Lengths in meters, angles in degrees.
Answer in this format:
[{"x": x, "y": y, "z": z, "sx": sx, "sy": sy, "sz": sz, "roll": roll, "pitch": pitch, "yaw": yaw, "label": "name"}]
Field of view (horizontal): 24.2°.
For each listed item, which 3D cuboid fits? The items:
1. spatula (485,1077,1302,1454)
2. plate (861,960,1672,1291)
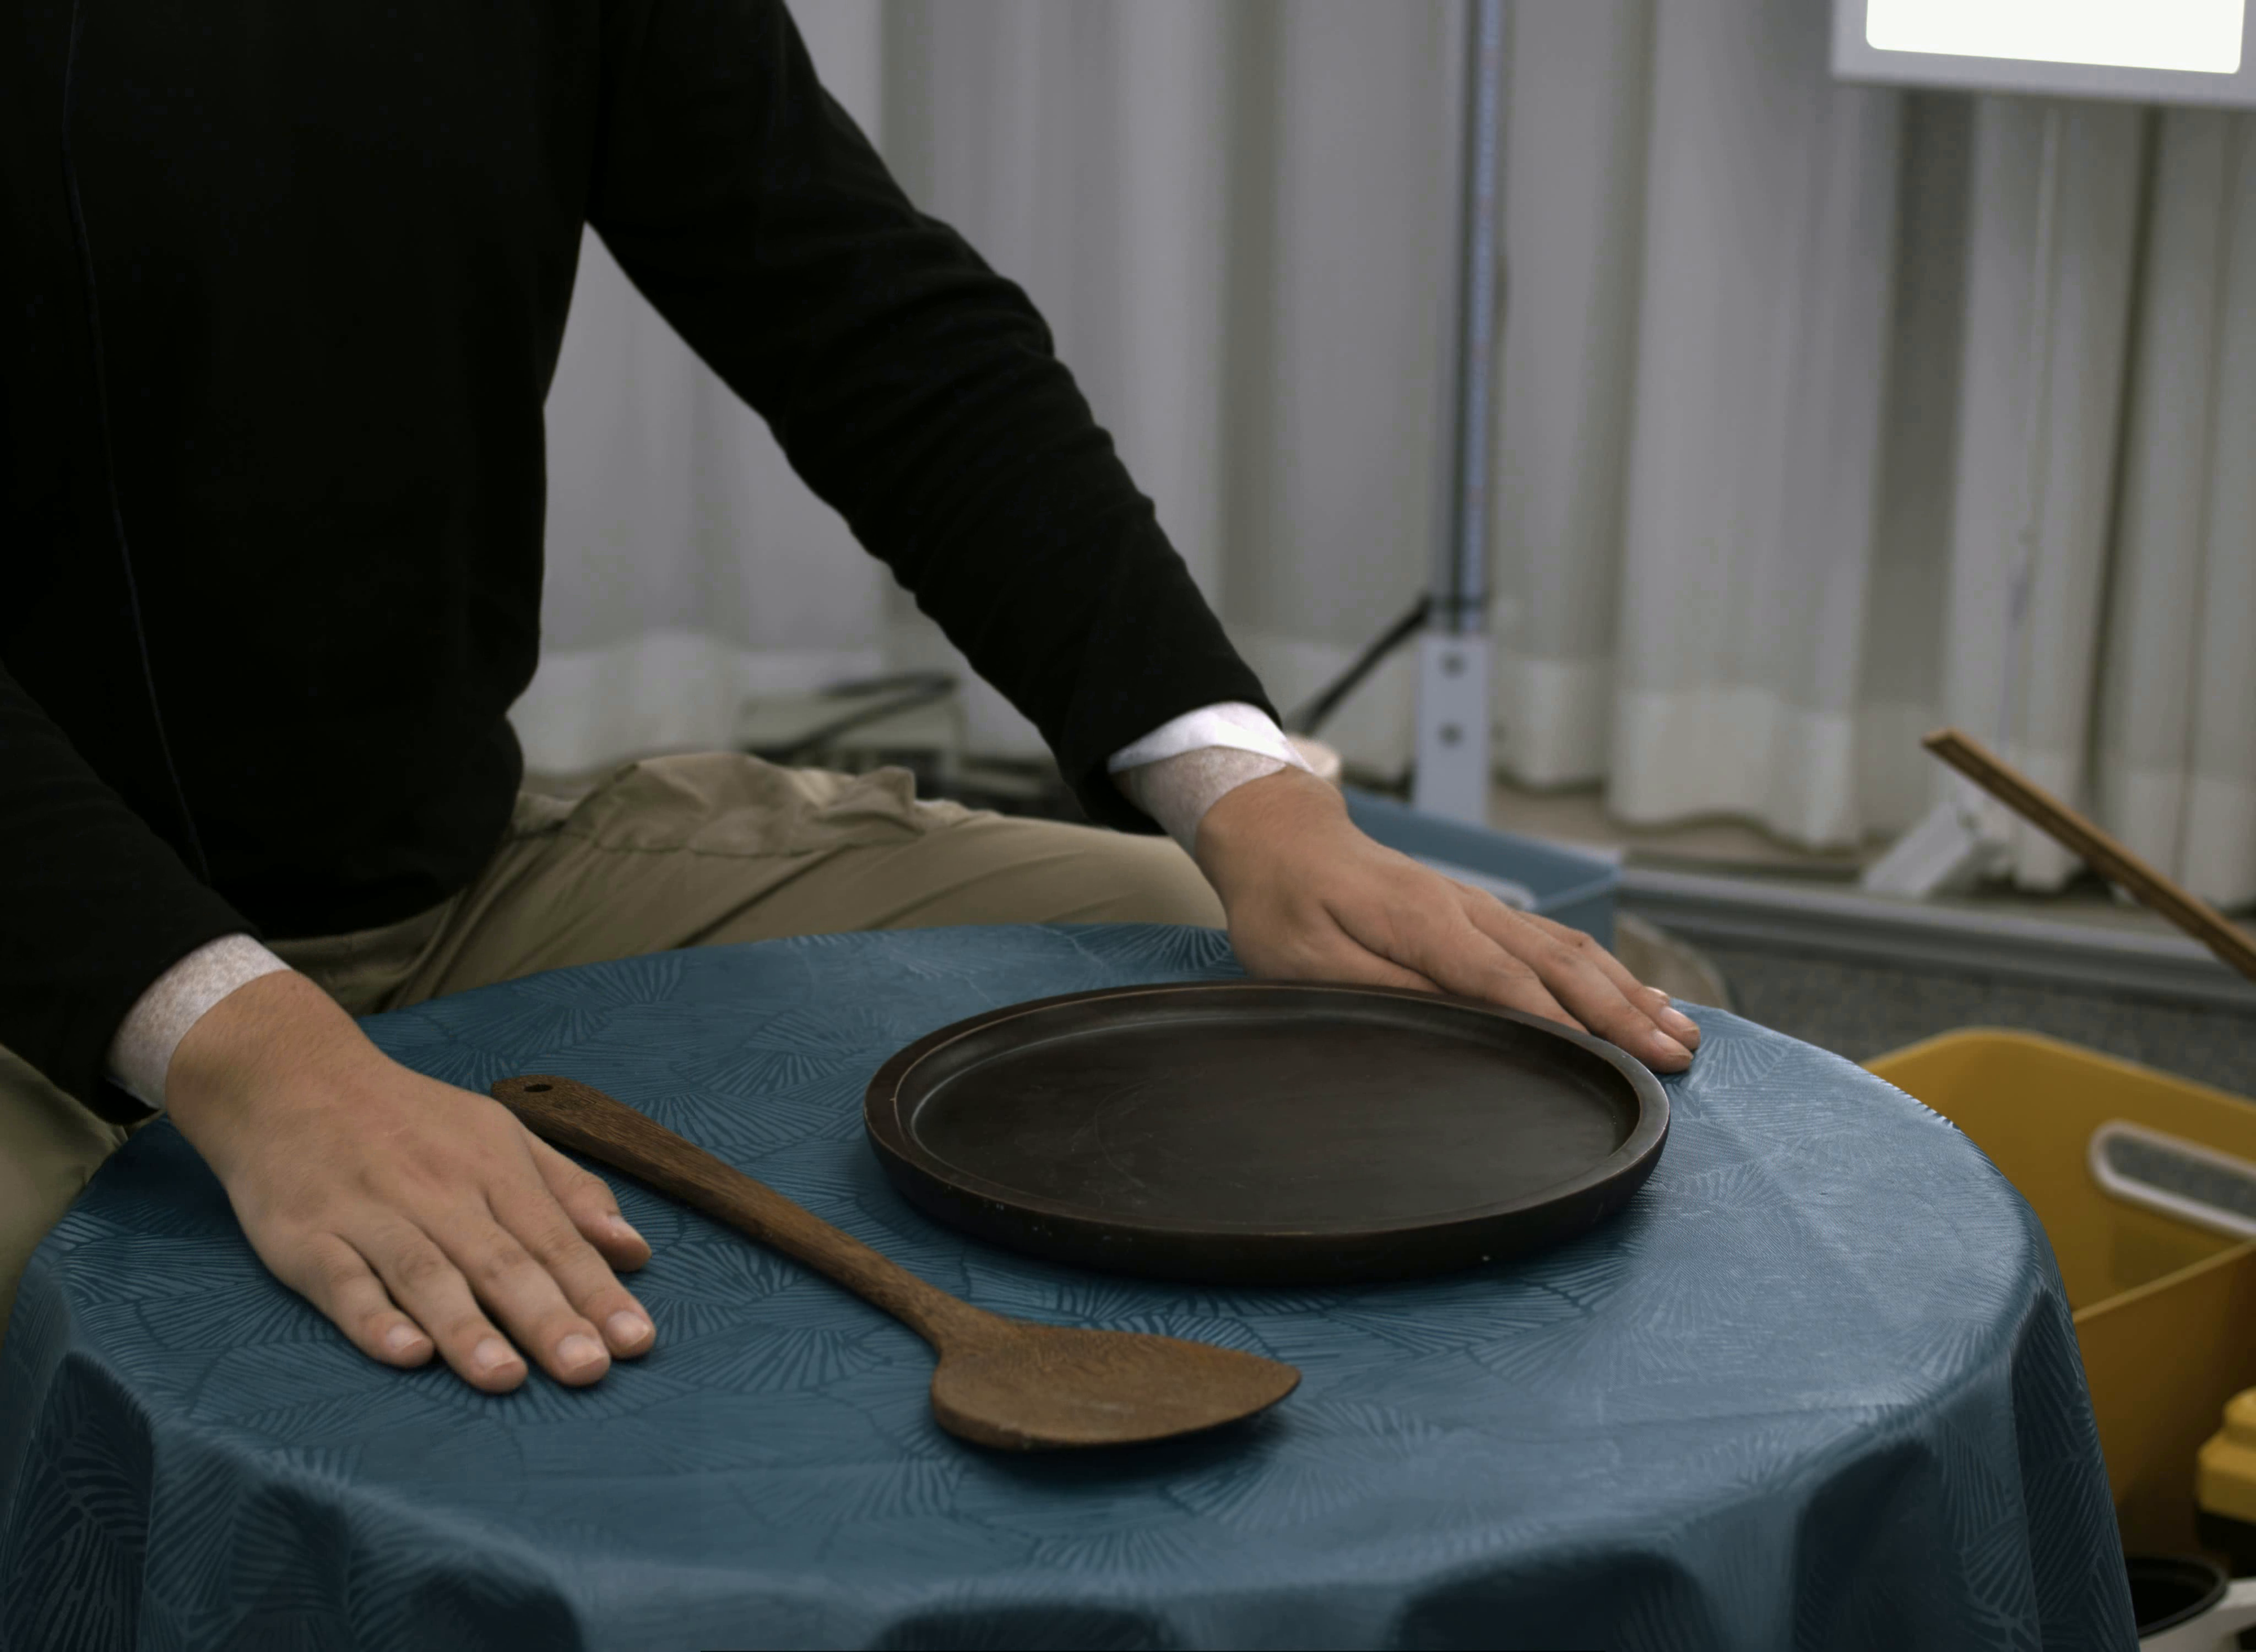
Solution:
[{"x": -0.092, "y": 0.123, "z": 1.551, "sx": 0.096, "sy": 0.016, "sz": 0.381, "roll": -10, "pitch": 18, "yaw": -34, "label": "spatula"}, {"x": 0.043, "y": 0.094, "z": 1.644, "sx": 0.254, "sy": 0.029, "sz": 0.253, "roll": -1, "pitch": 16, "yaw": 1, "label": "plate"}]
